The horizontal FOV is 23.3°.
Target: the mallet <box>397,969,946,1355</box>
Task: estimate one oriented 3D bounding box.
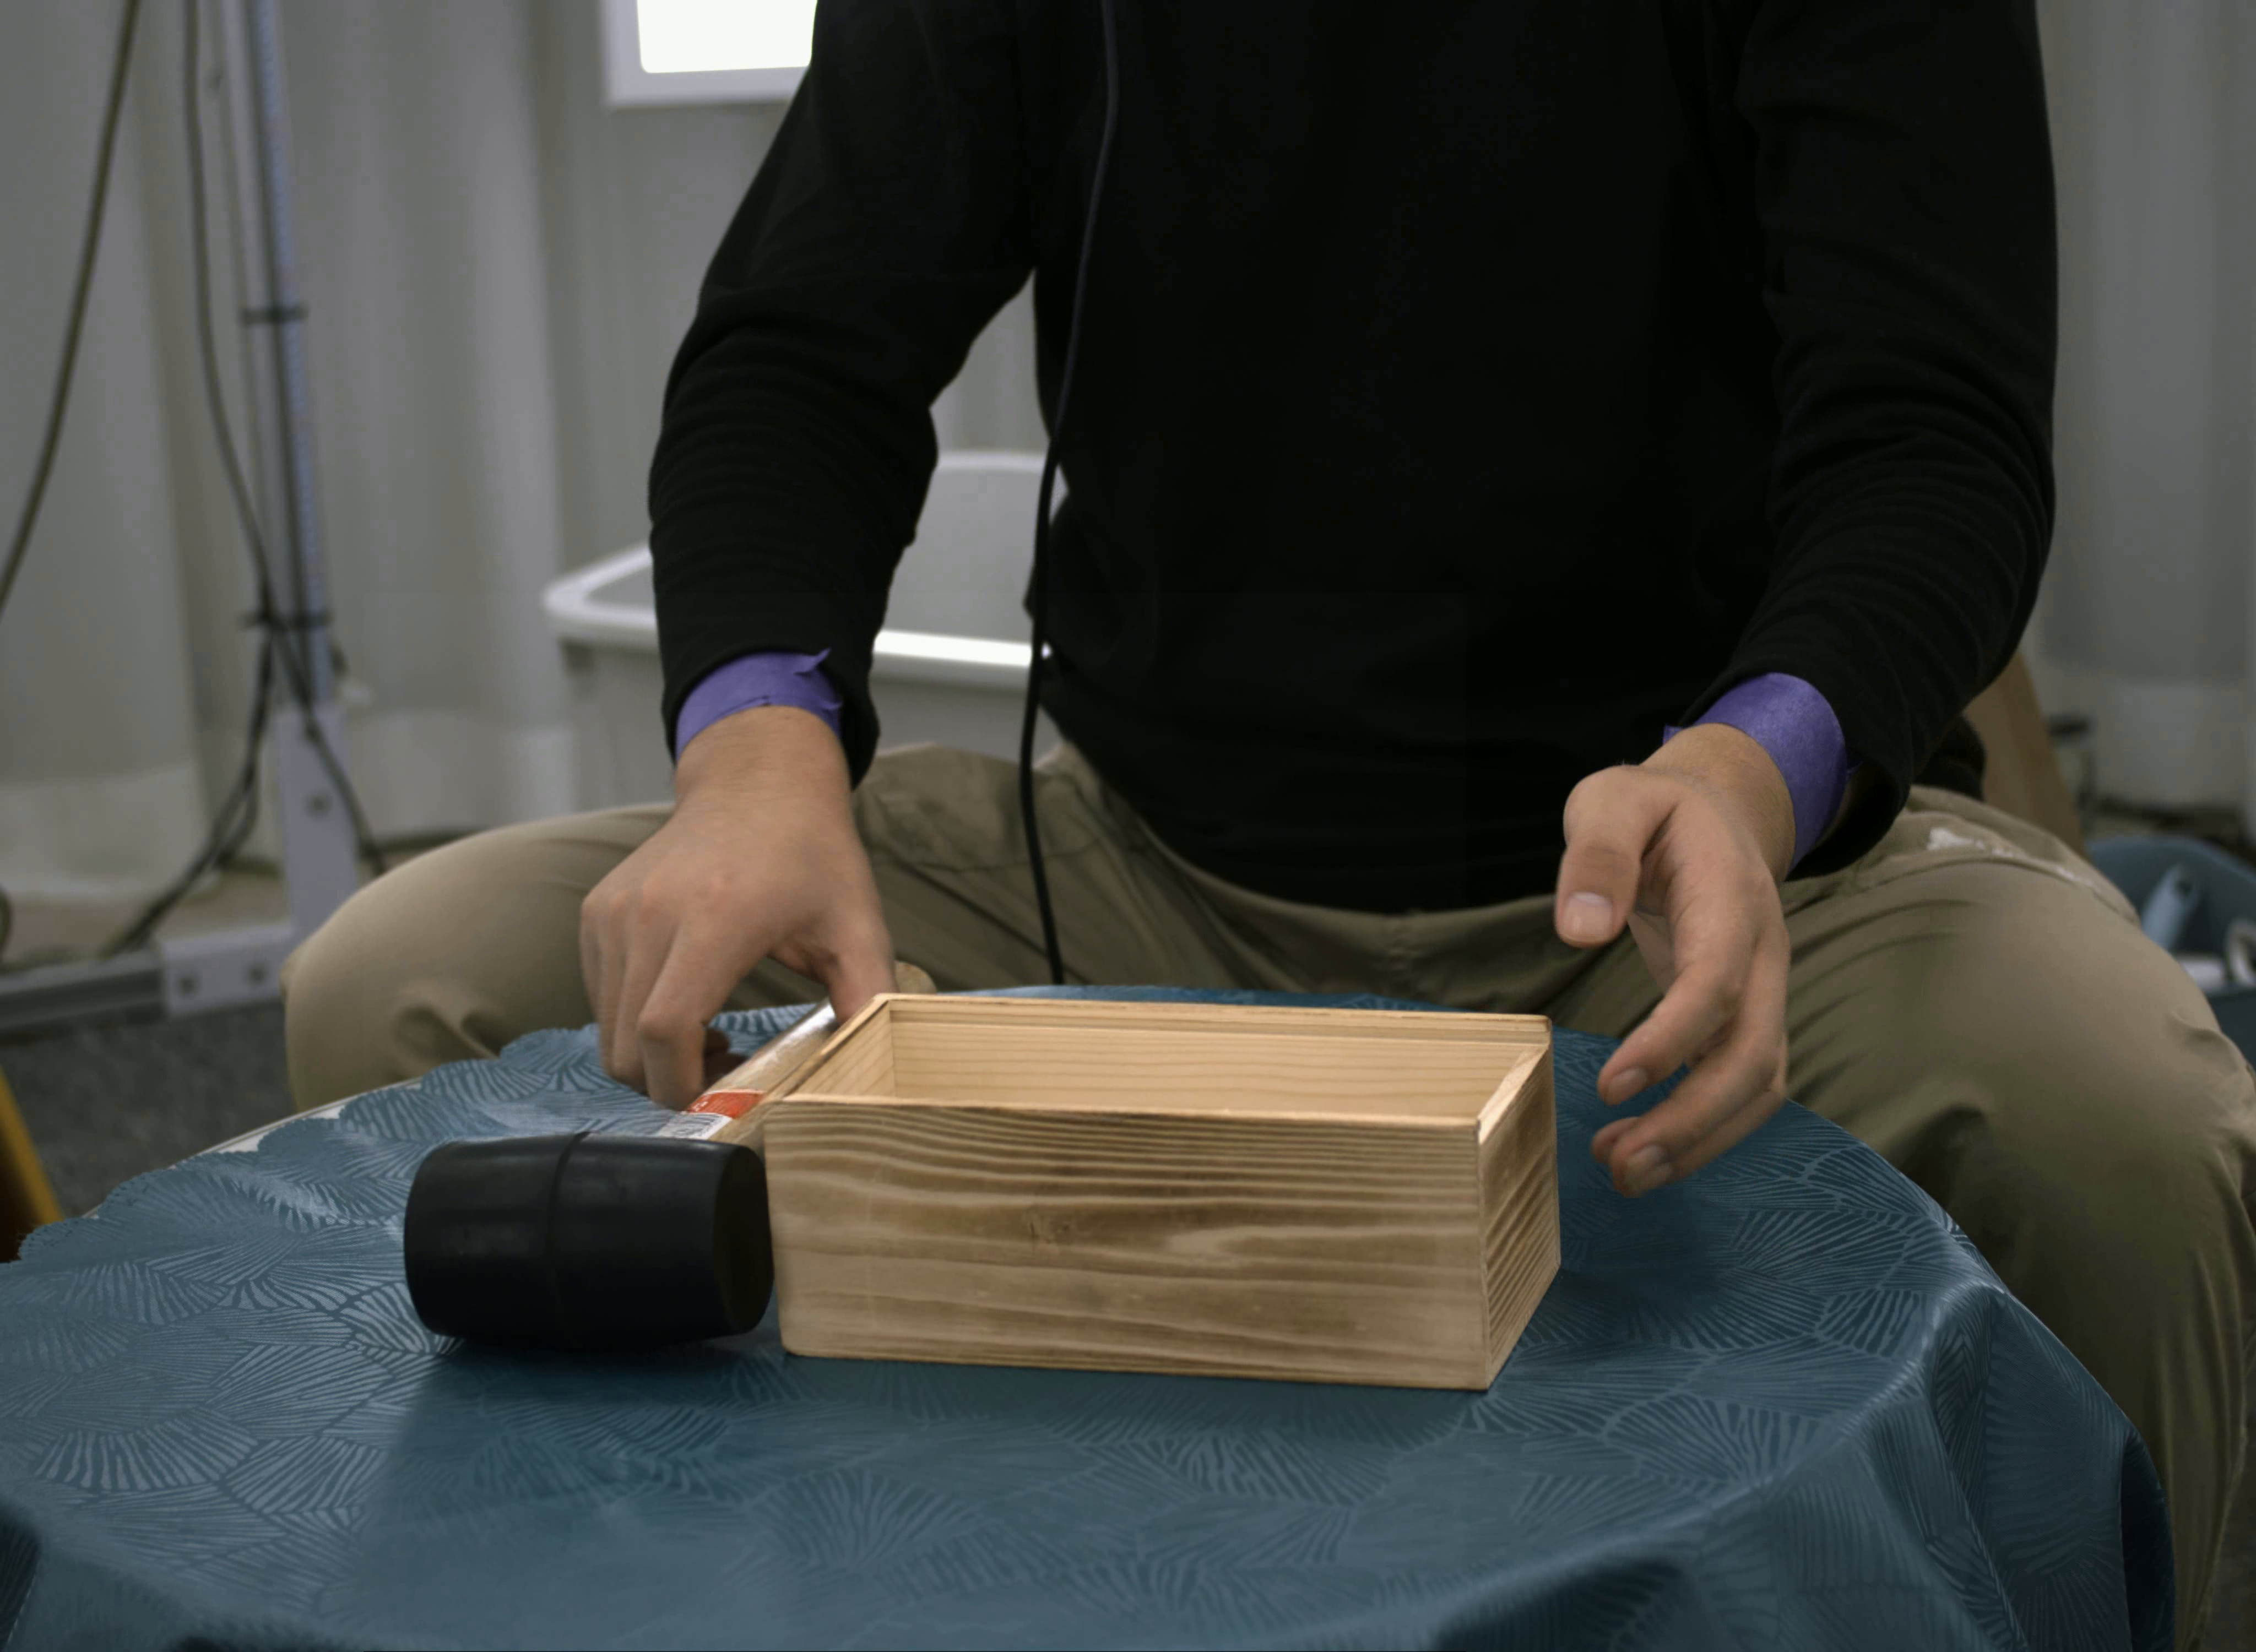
[{"bbox_3d":[-0.123,0.088,1.725,0.102,0.064,0.340,3,15,15],"label":"mallet"}]

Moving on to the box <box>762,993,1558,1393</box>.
[{"bbox_3d":[0.011,0.105,1.595,0.211,0.080,0.108,2,14,16],"label":"box"}]
